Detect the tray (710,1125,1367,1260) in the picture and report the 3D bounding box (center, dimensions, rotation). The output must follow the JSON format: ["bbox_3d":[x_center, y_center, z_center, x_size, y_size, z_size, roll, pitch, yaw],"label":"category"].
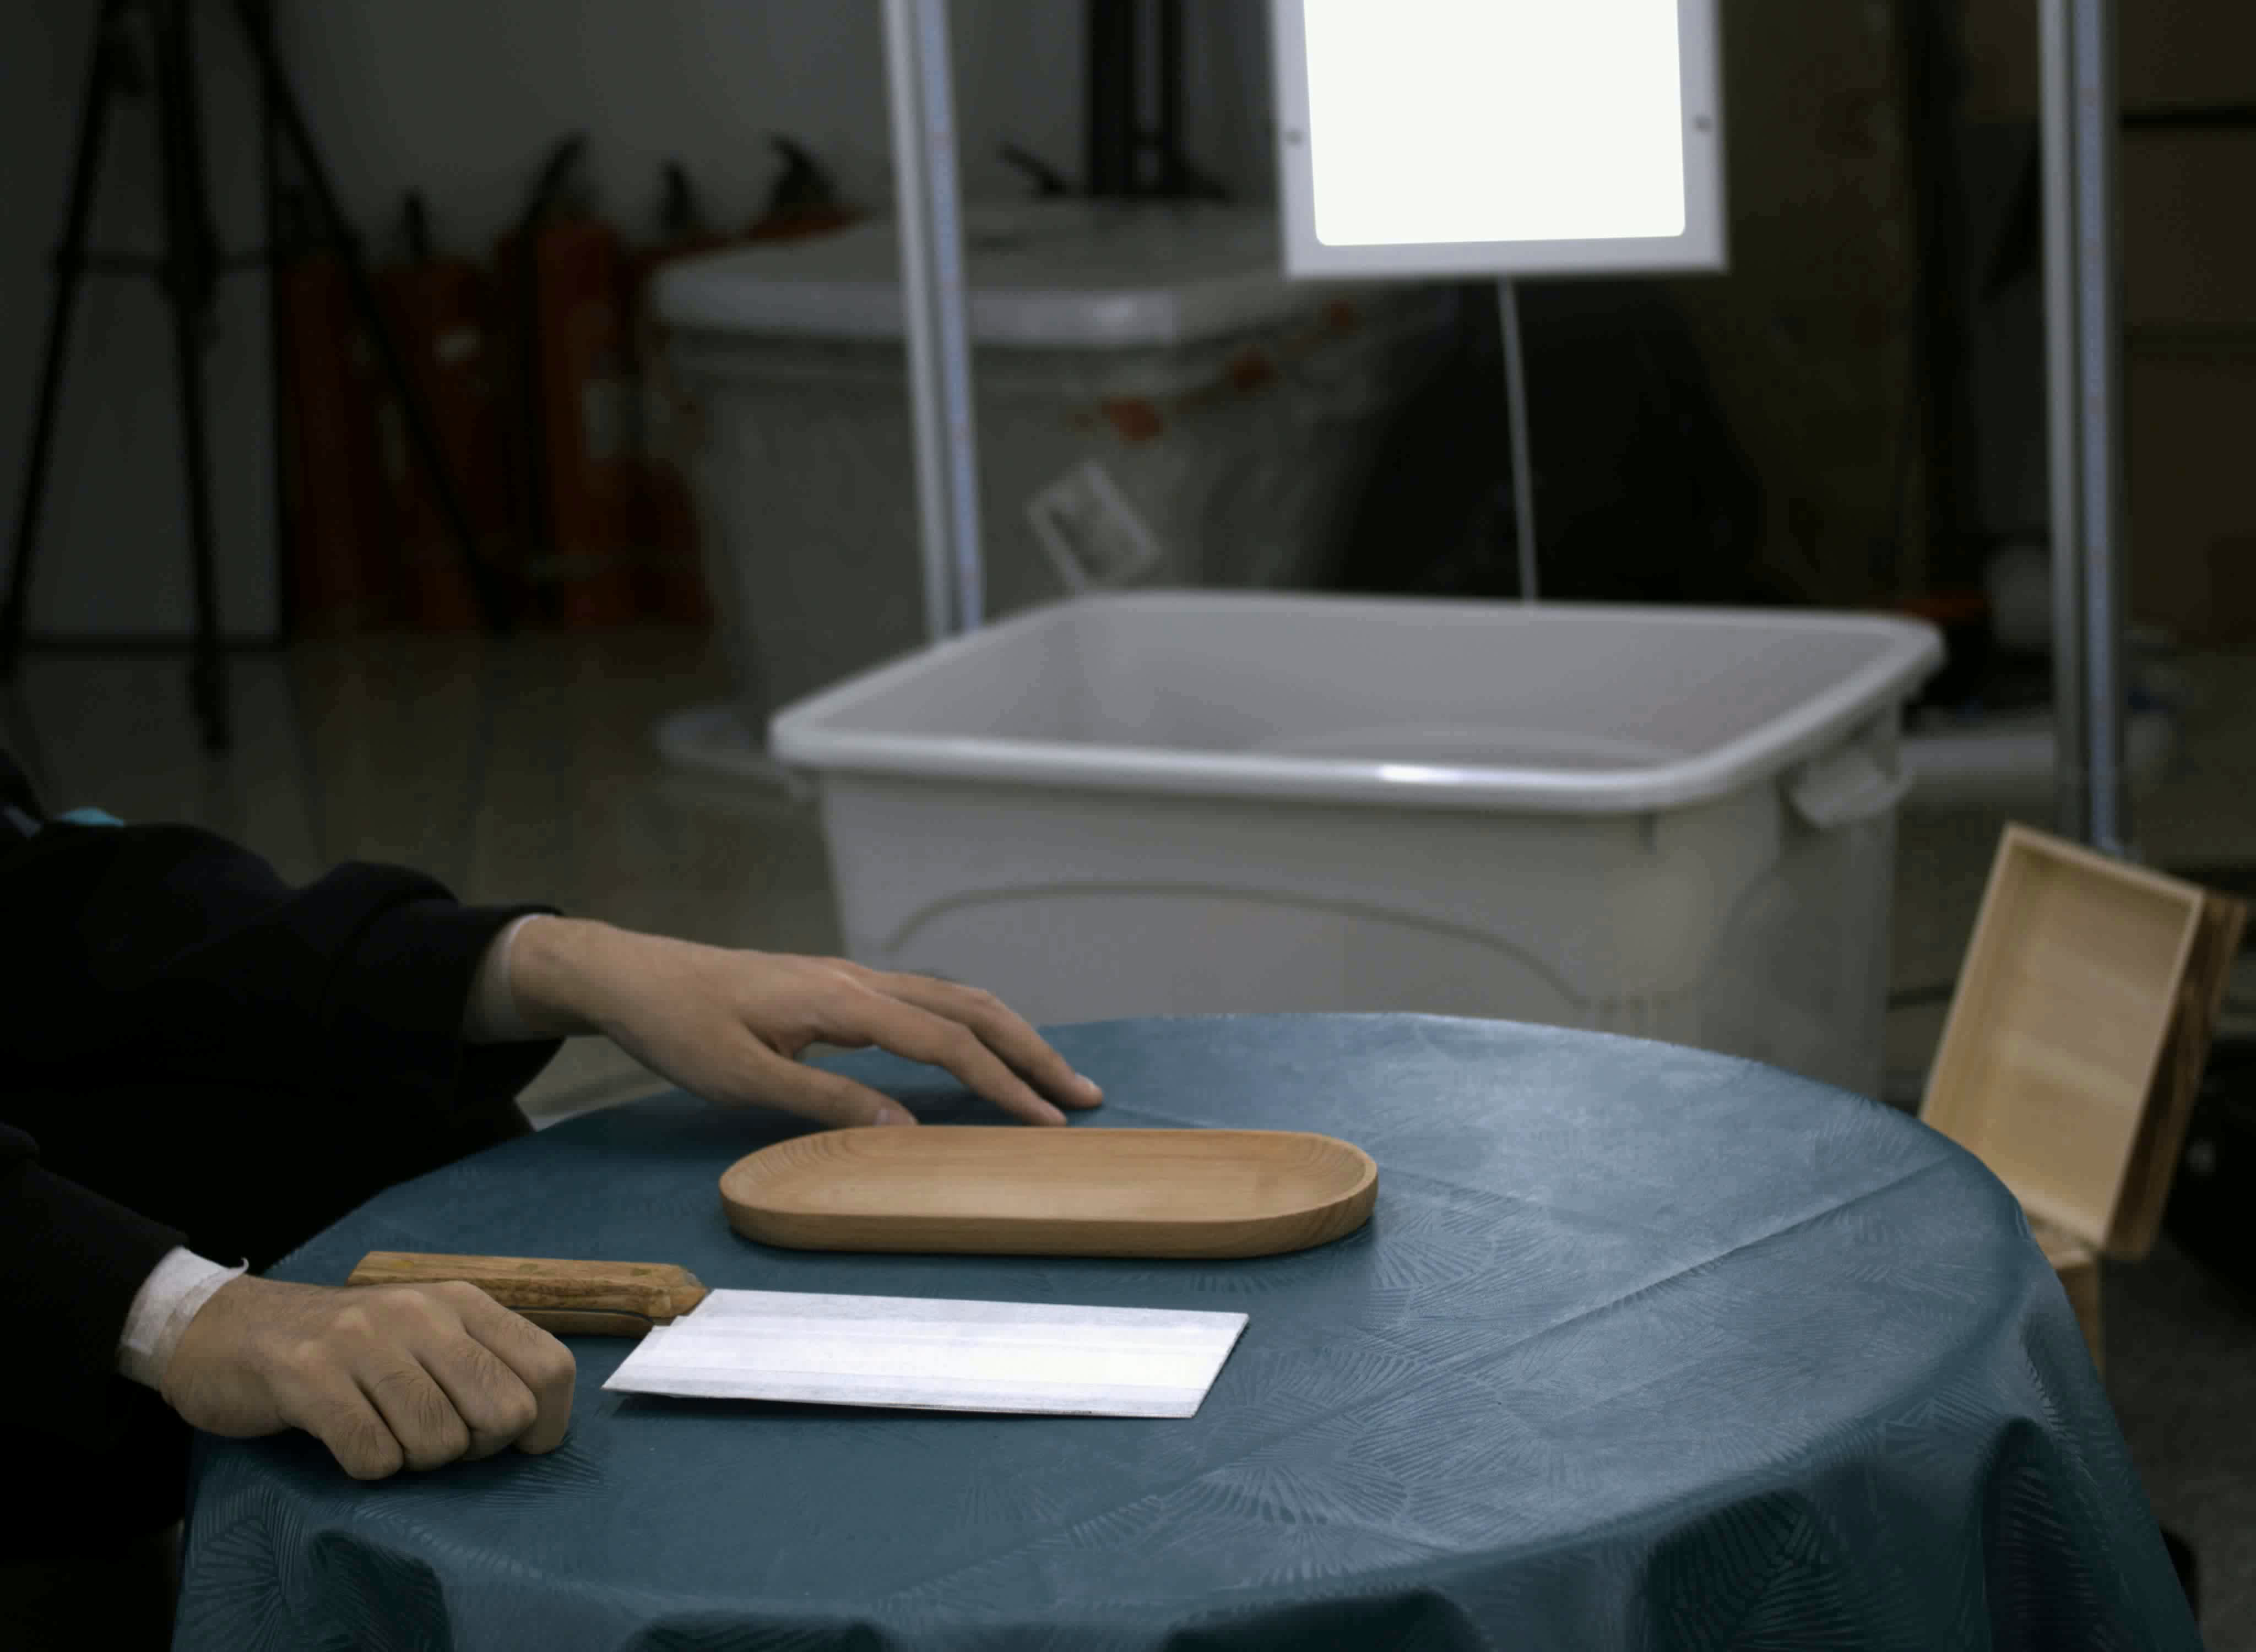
[{"bbox_3d":[-0.031,0.125,1.879,0.234,0.020,0.100,-1,13,19],"label":"tray"}]

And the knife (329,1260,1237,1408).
[{"bbox_3d":[-0.118,0.164,1.755,0.308,0.021,0.091,1,17,15],"label":"knife"}]
